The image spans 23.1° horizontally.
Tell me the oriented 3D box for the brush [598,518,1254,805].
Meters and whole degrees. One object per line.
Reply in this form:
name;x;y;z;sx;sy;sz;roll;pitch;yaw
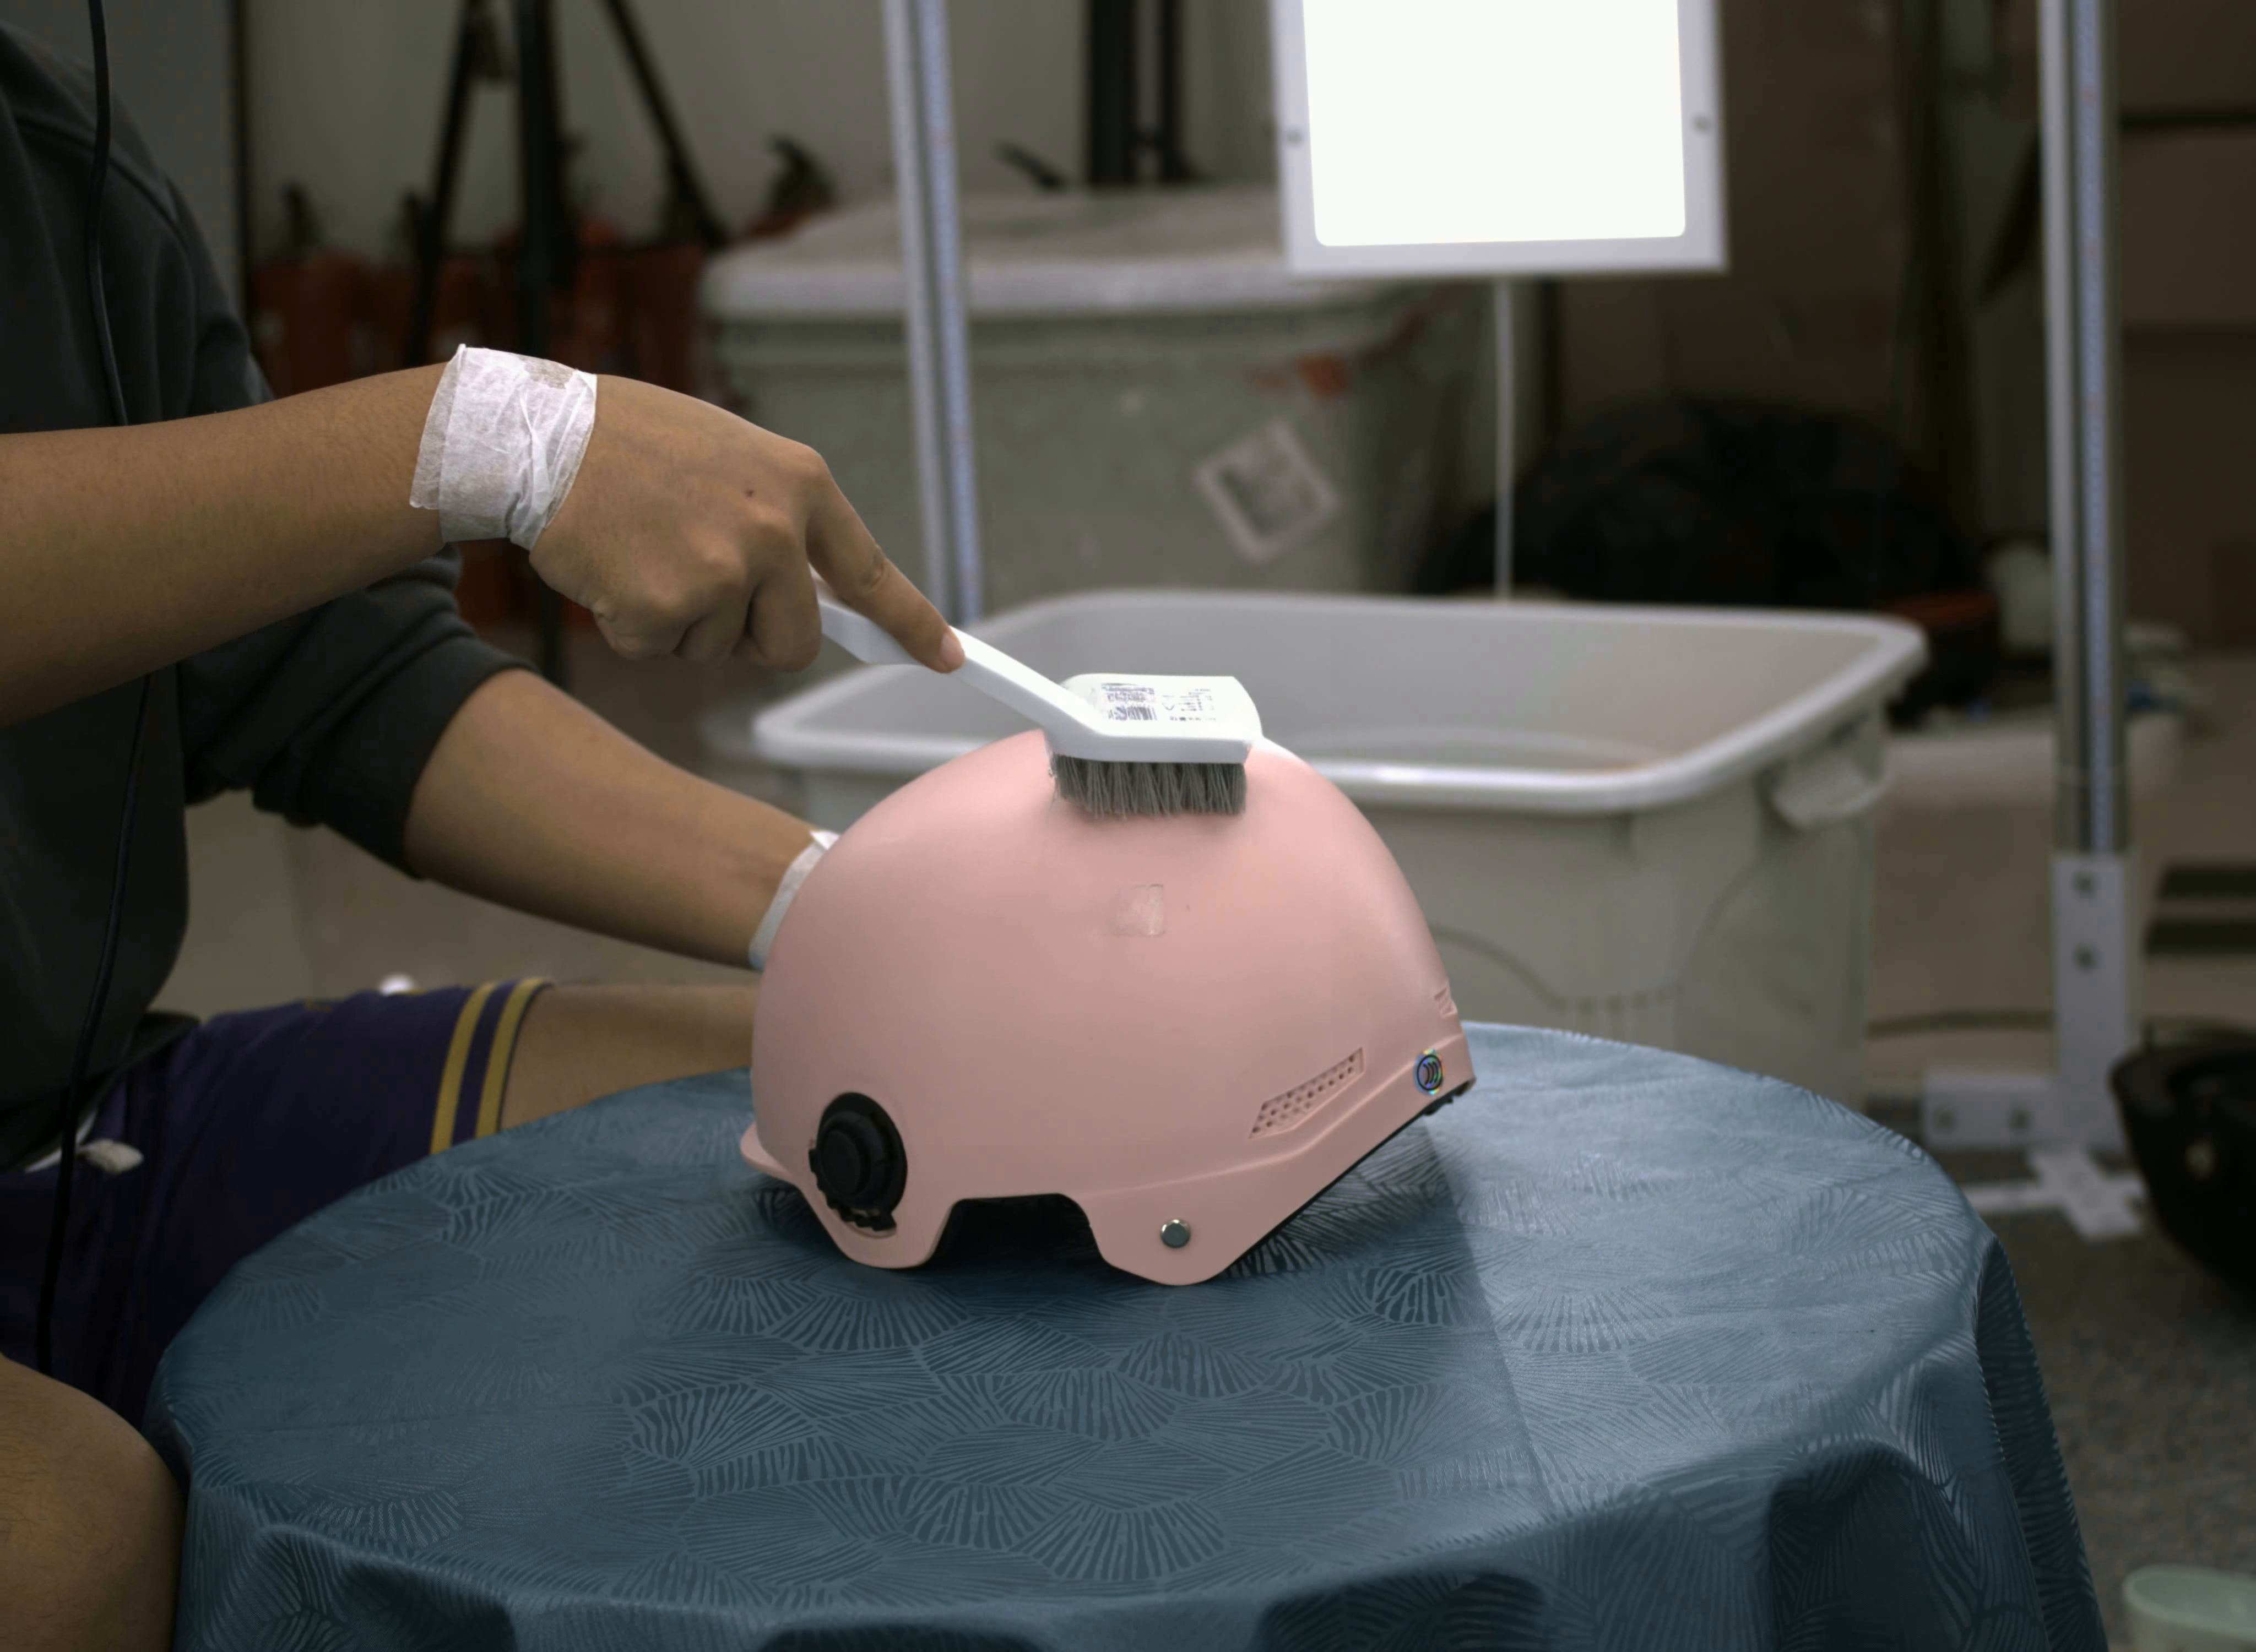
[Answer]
brush;-0.065;-0.049;1.769;0.239;0.051;0.034;14;35;-23

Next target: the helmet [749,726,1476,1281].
helmet;-0.018;0.045;1.890;0.271;0.159;0.228;0;19;36
